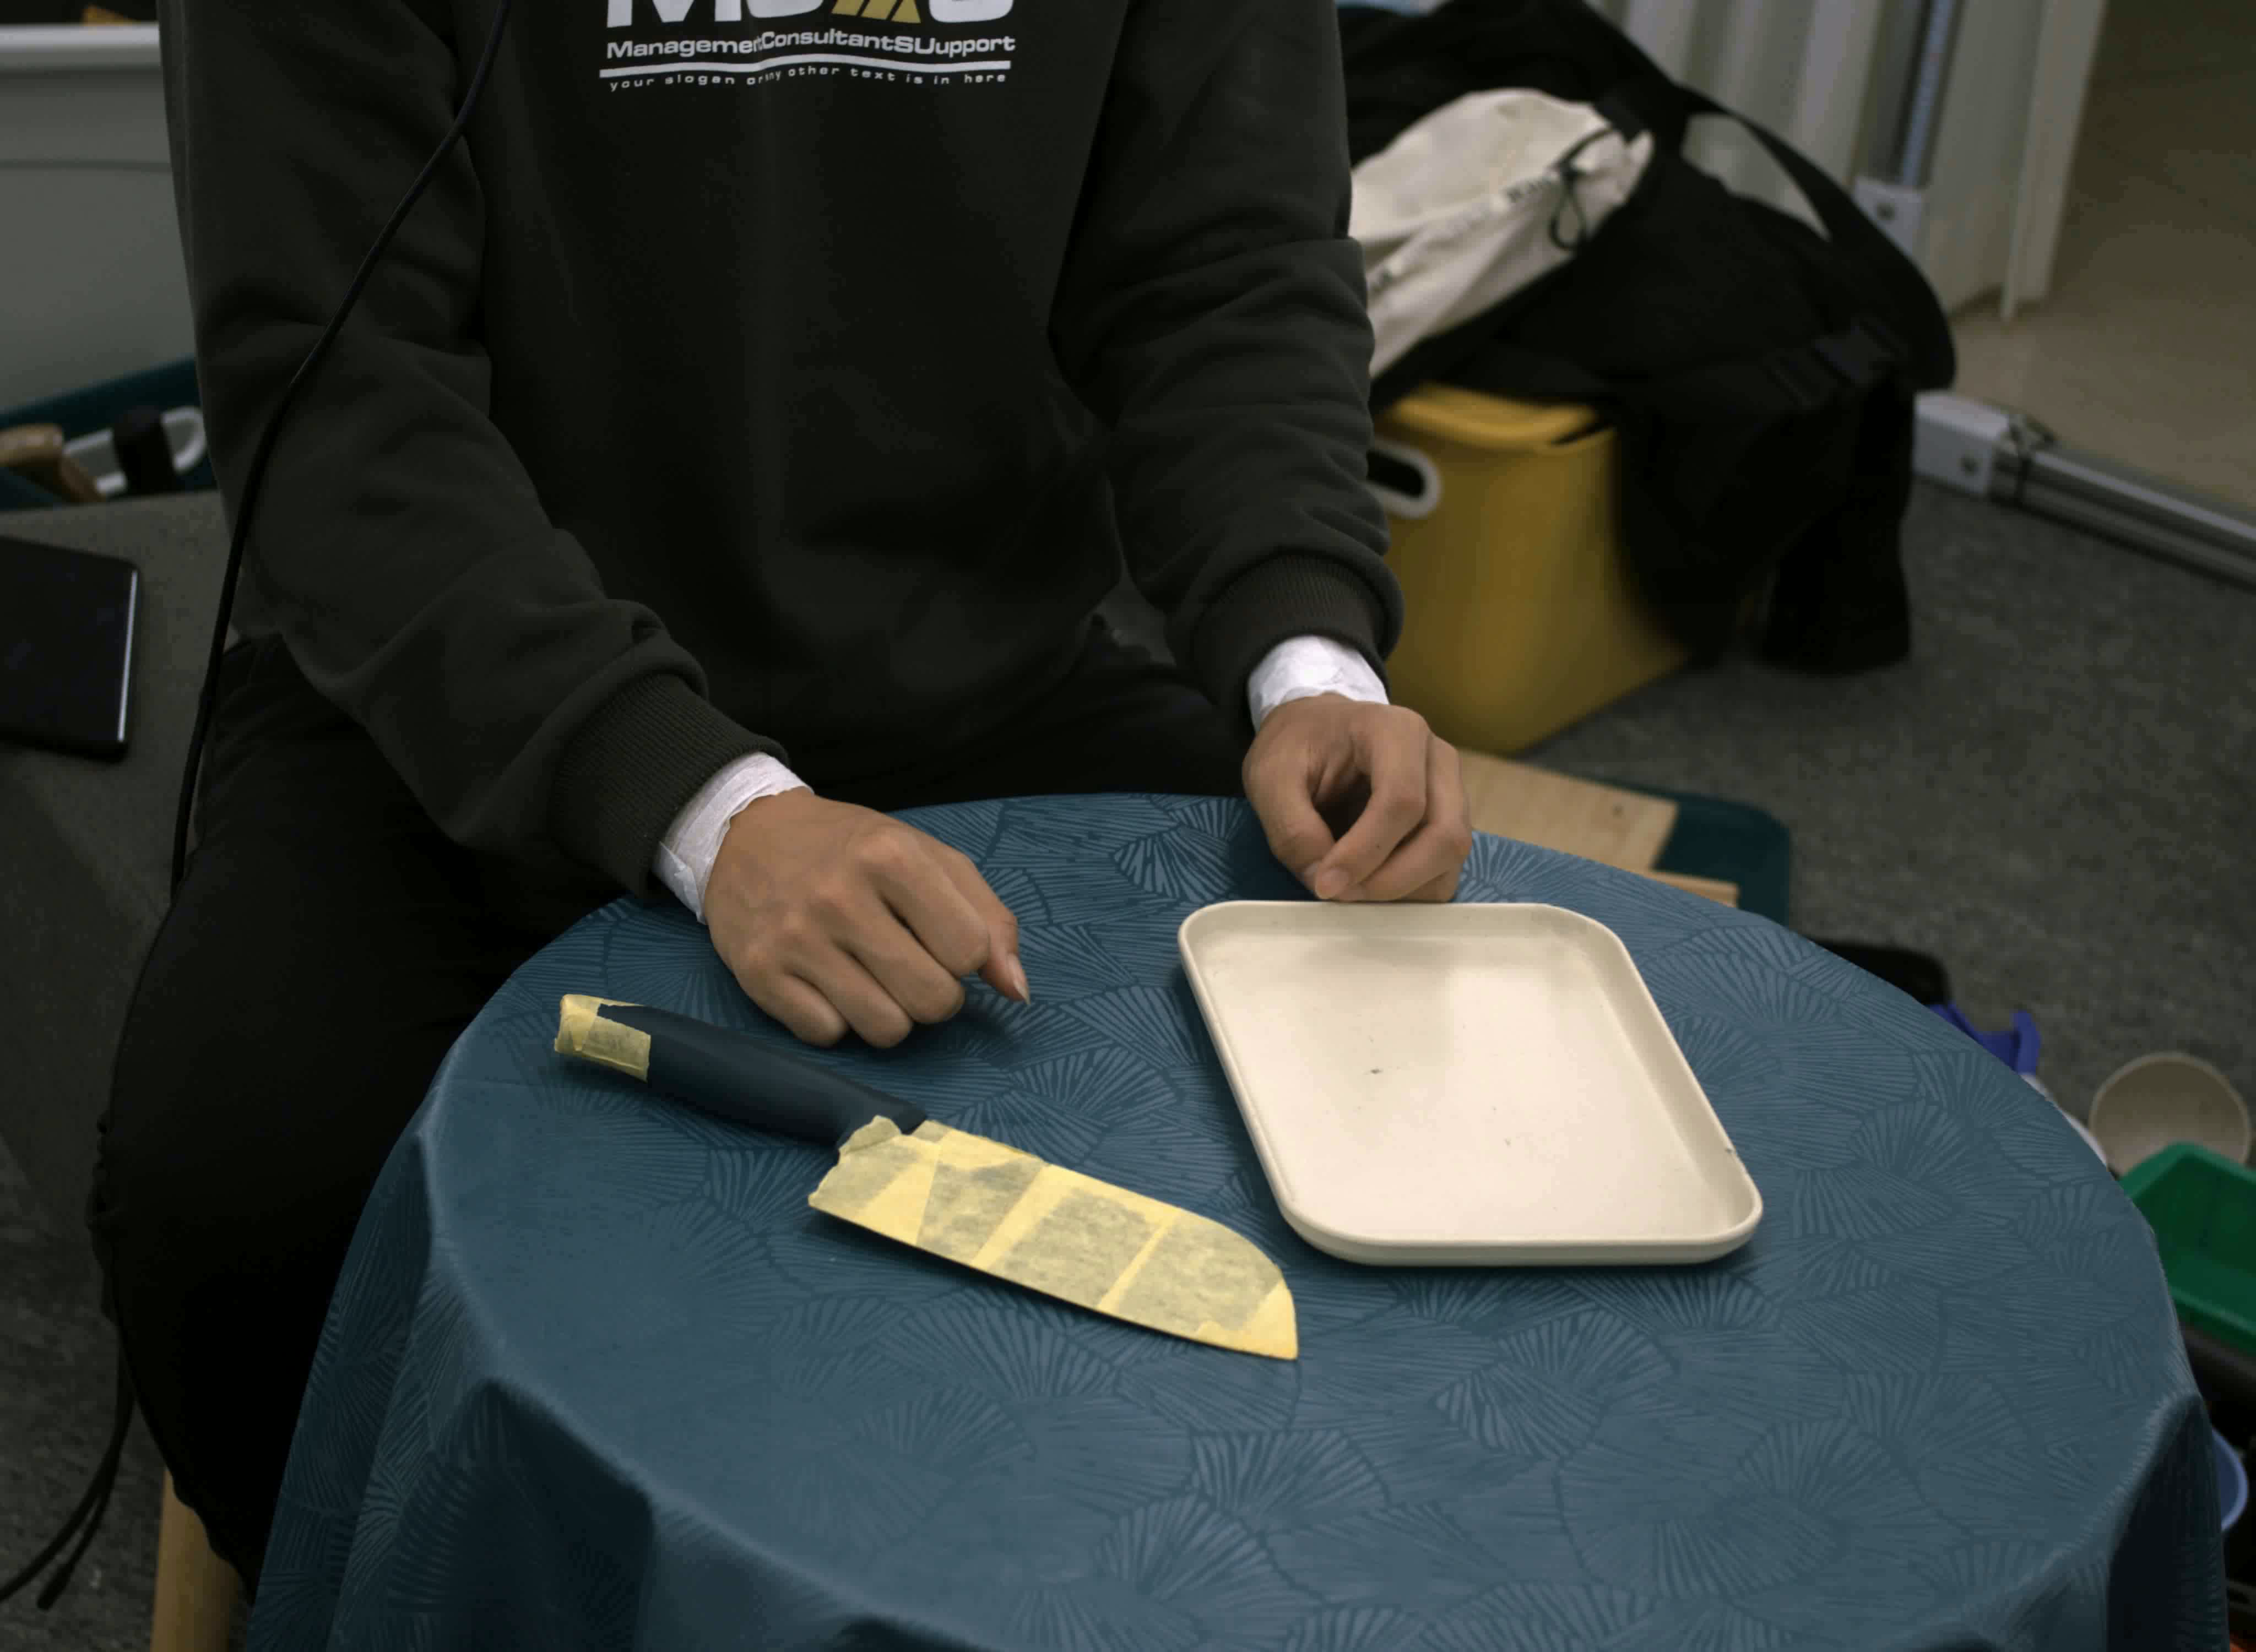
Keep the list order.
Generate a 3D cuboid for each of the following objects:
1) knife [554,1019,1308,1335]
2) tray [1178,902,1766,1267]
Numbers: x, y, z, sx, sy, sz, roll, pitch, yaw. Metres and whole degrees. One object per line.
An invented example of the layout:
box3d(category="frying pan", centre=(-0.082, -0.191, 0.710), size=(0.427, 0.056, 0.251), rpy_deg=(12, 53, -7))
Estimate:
box3d(category="knife", centre=(-0.072, 0.119, 1.782), size=(0.290, 0.027, 0.081), rpy_deg=(18, 27, 20))
box3d(category="tray", centre=(0.117, 0.090, 1.879), size=(0.170, 0.017, 0.241), rpy_deg=(0, 27, -11))
